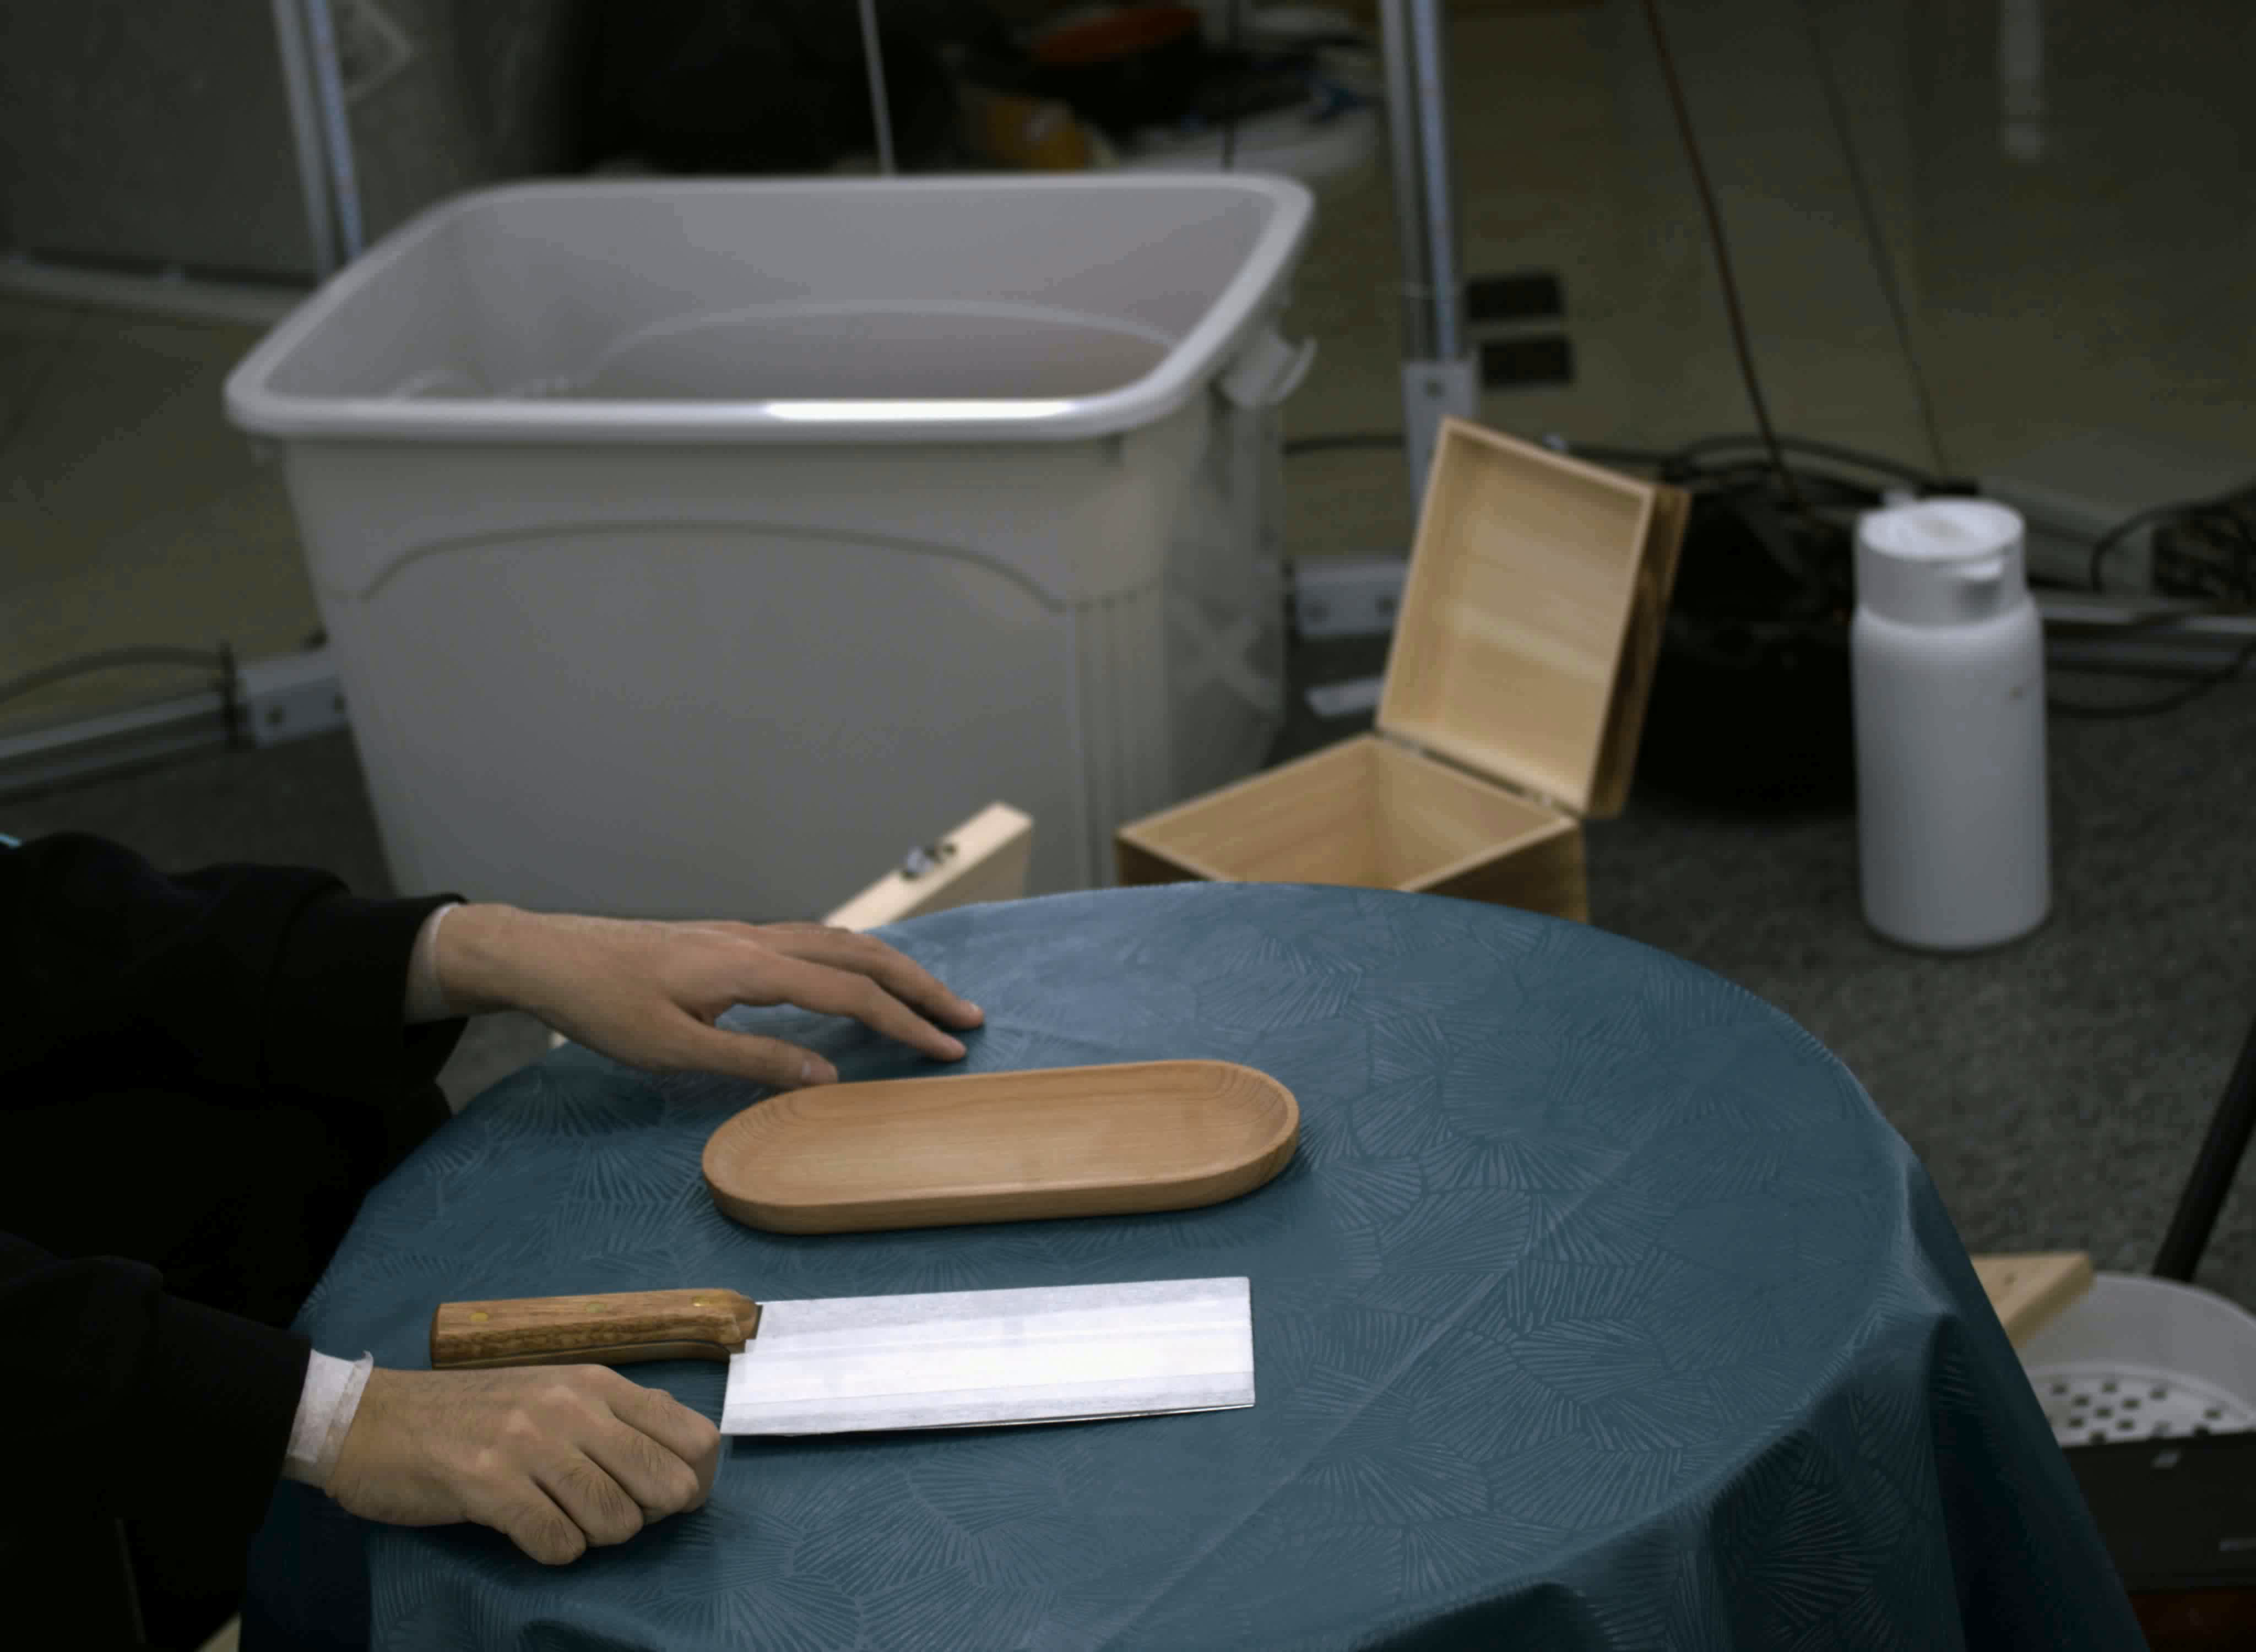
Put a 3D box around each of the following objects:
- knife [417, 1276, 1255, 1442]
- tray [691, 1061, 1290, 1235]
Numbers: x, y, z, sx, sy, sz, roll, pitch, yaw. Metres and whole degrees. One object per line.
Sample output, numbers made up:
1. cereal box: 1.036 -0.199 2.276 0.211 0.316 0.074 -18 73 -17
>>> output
1. knife: -0.107 0.193 2.041 0.305 0.021 0.091 -3 27 1
2. tray: -0.053 0.124 2.172 0.231 0.020 0.100 -5 24 6
